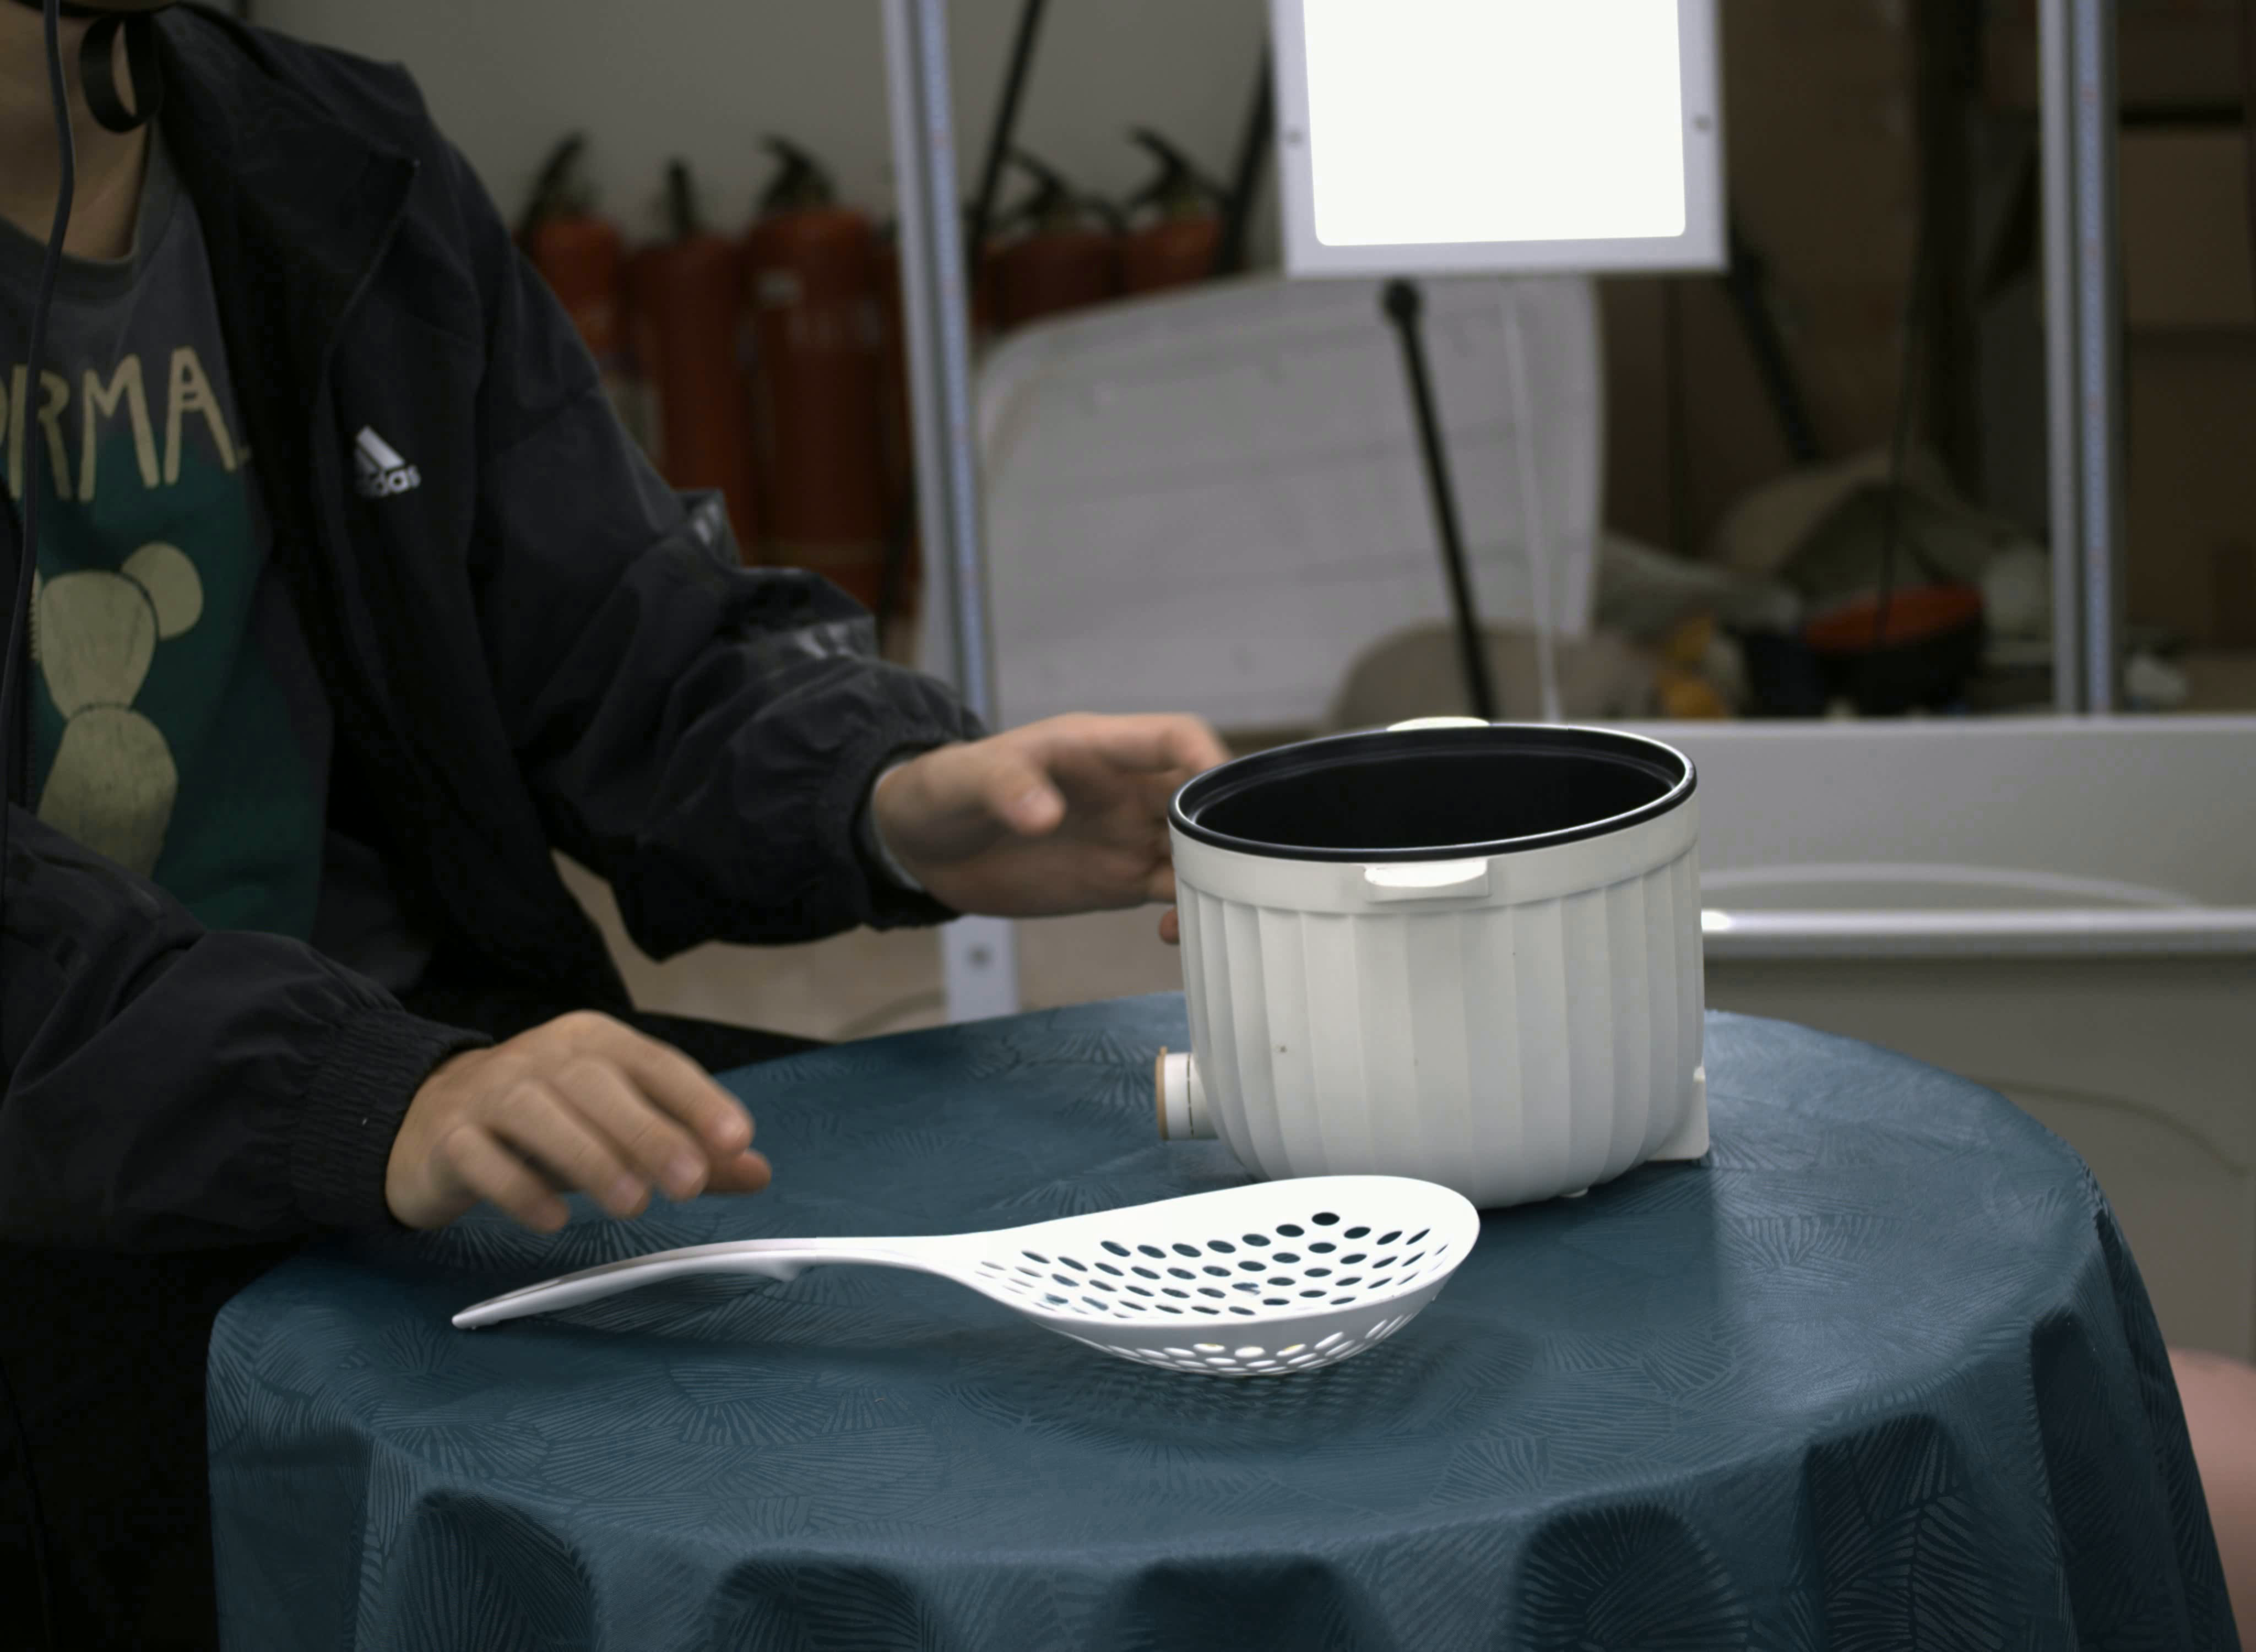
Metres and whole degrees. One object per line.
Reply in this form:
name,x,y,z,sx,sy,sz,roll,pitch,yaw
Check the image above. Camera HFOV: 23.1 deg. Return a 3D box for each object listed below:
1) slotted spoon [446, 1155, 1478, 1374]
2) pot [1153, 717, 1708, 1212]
slotted spoon,-0.058,0.145,1.752,0.353,0.050,0.134,0,17,21
pot,0.103,0.050,1.879,0.191,0.143,0.239,-1,13,5
